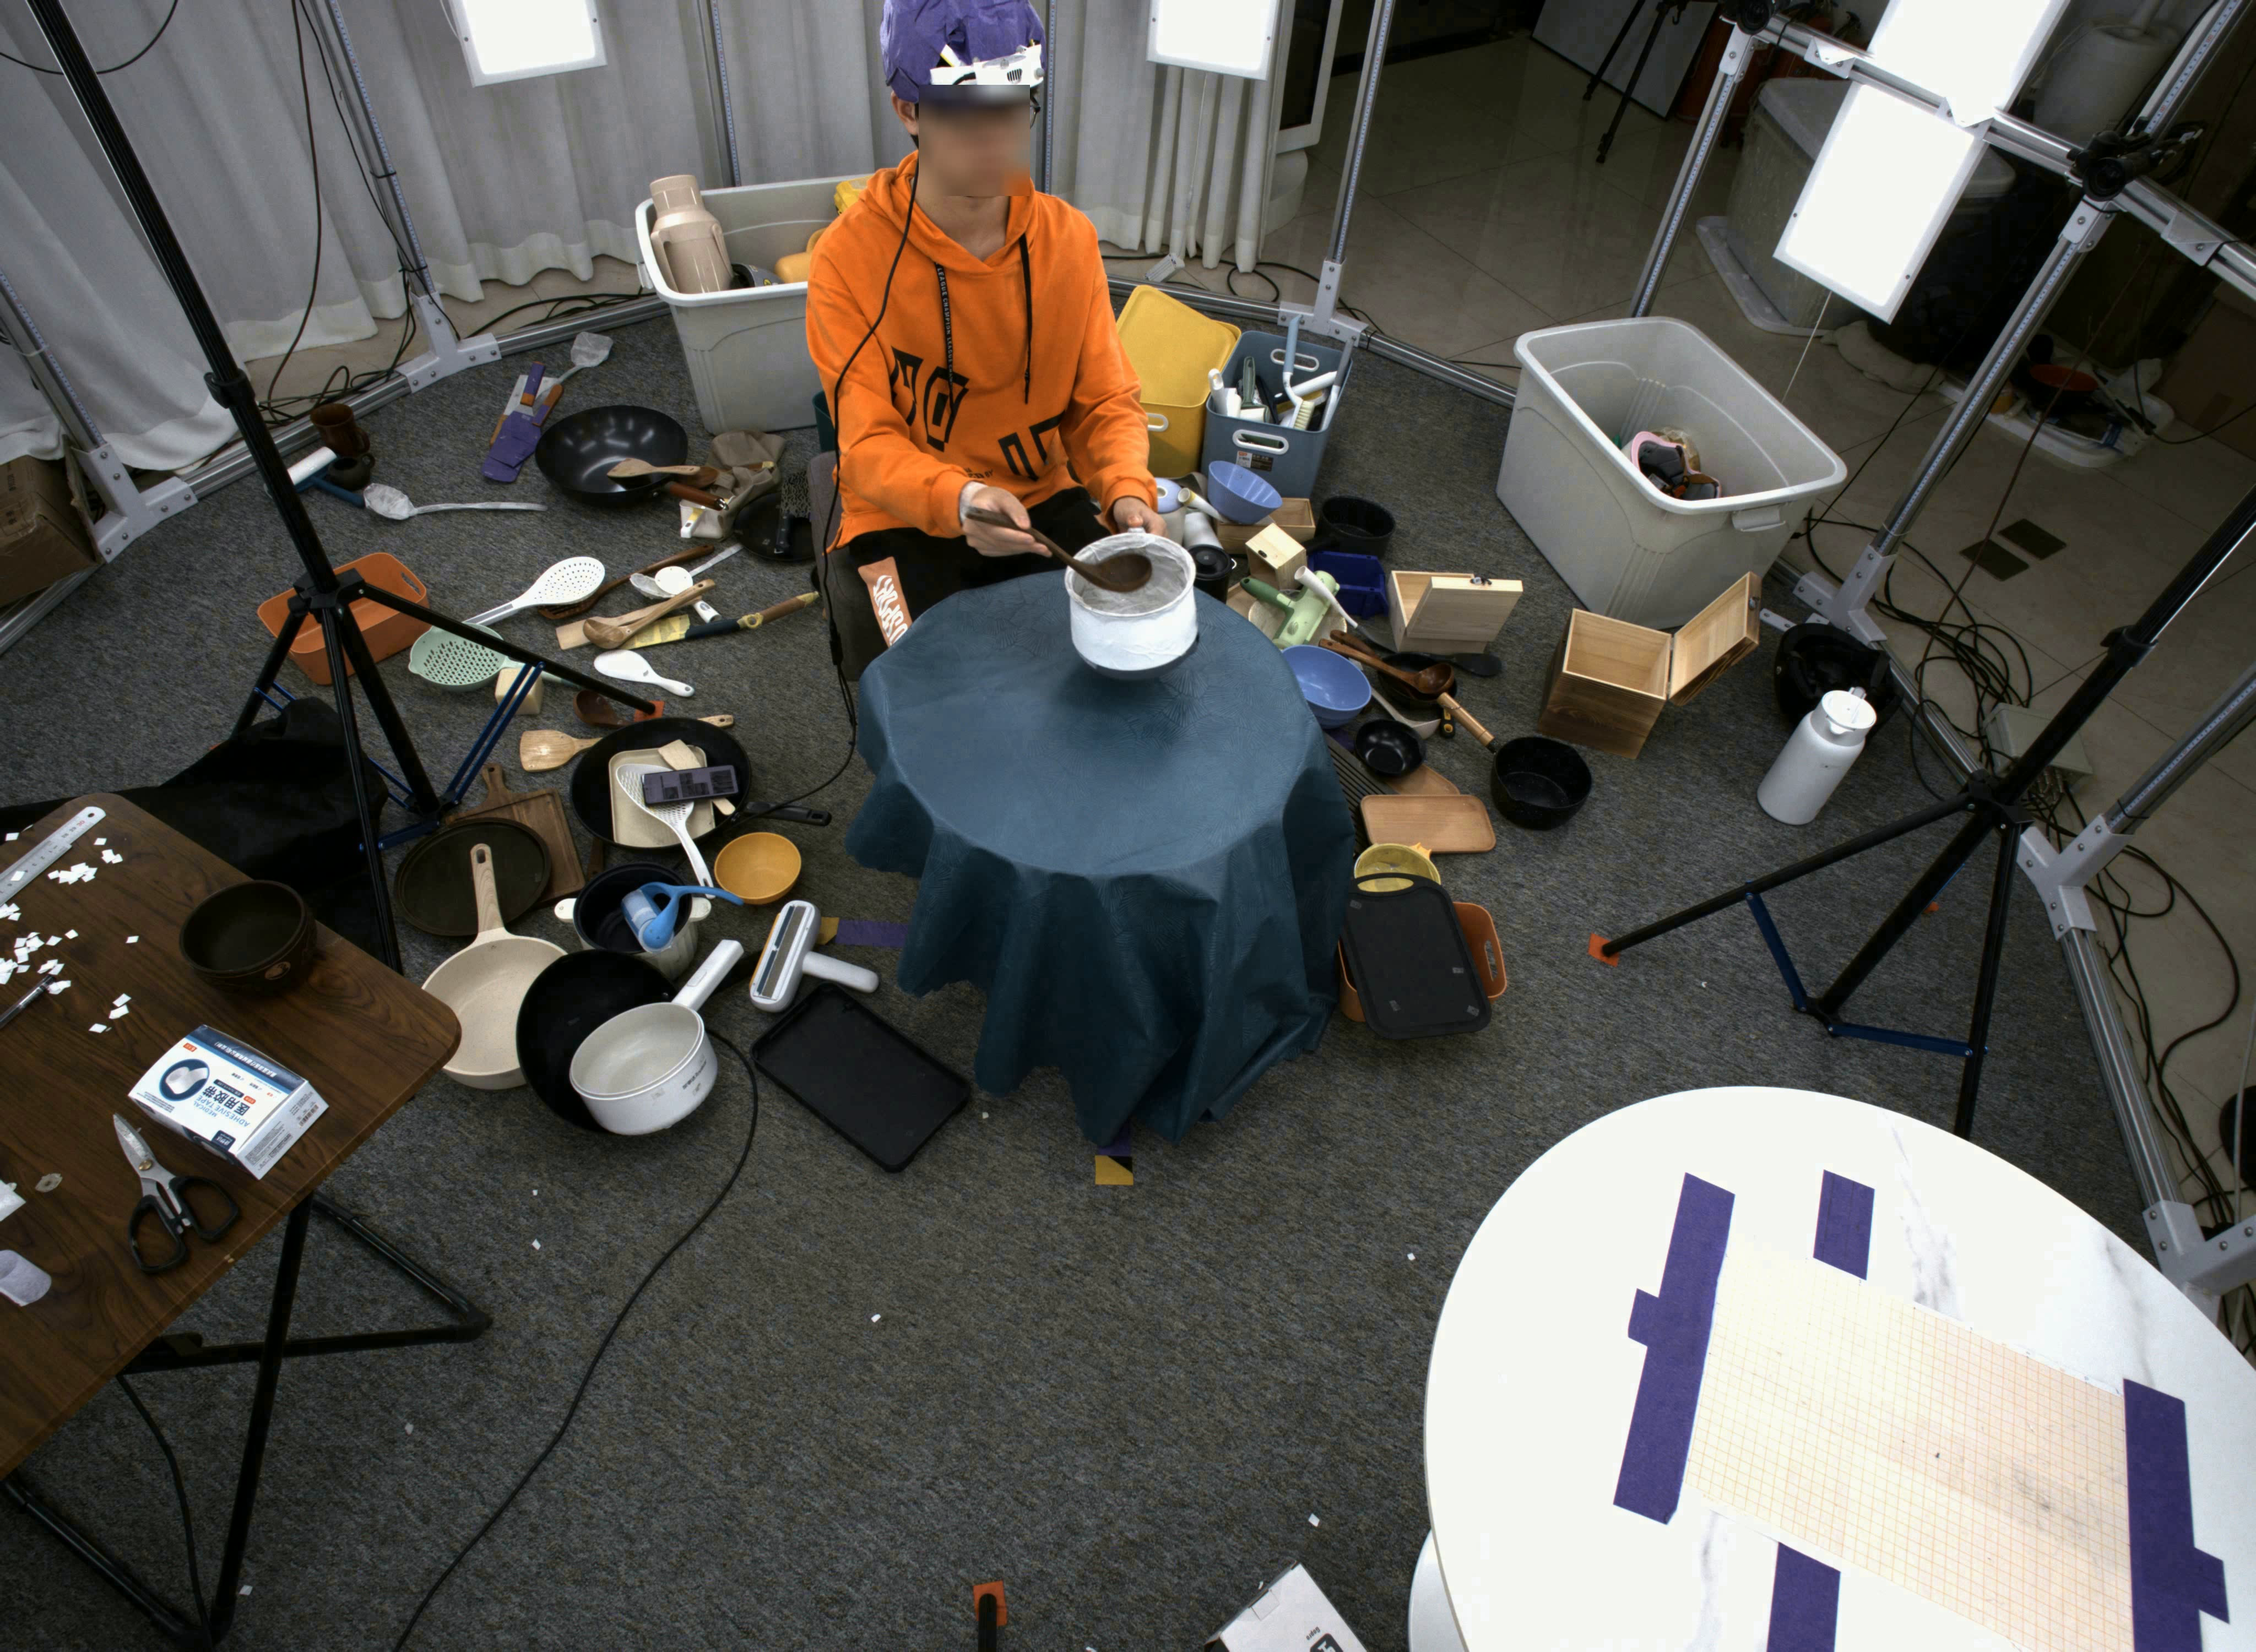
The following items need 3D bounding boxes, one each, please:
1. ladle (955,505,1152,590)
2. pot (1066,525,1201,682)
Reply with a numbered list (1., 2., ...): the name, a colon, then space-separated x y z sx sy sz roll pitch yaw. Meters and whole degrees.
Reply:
1. ladle: -0.088 -0.374 1.654 0.270 0.070 0.078 21 25 -34
2. pot: 0.011 -0.318 1.788 0.179 0.133 0.239 0 49 5
